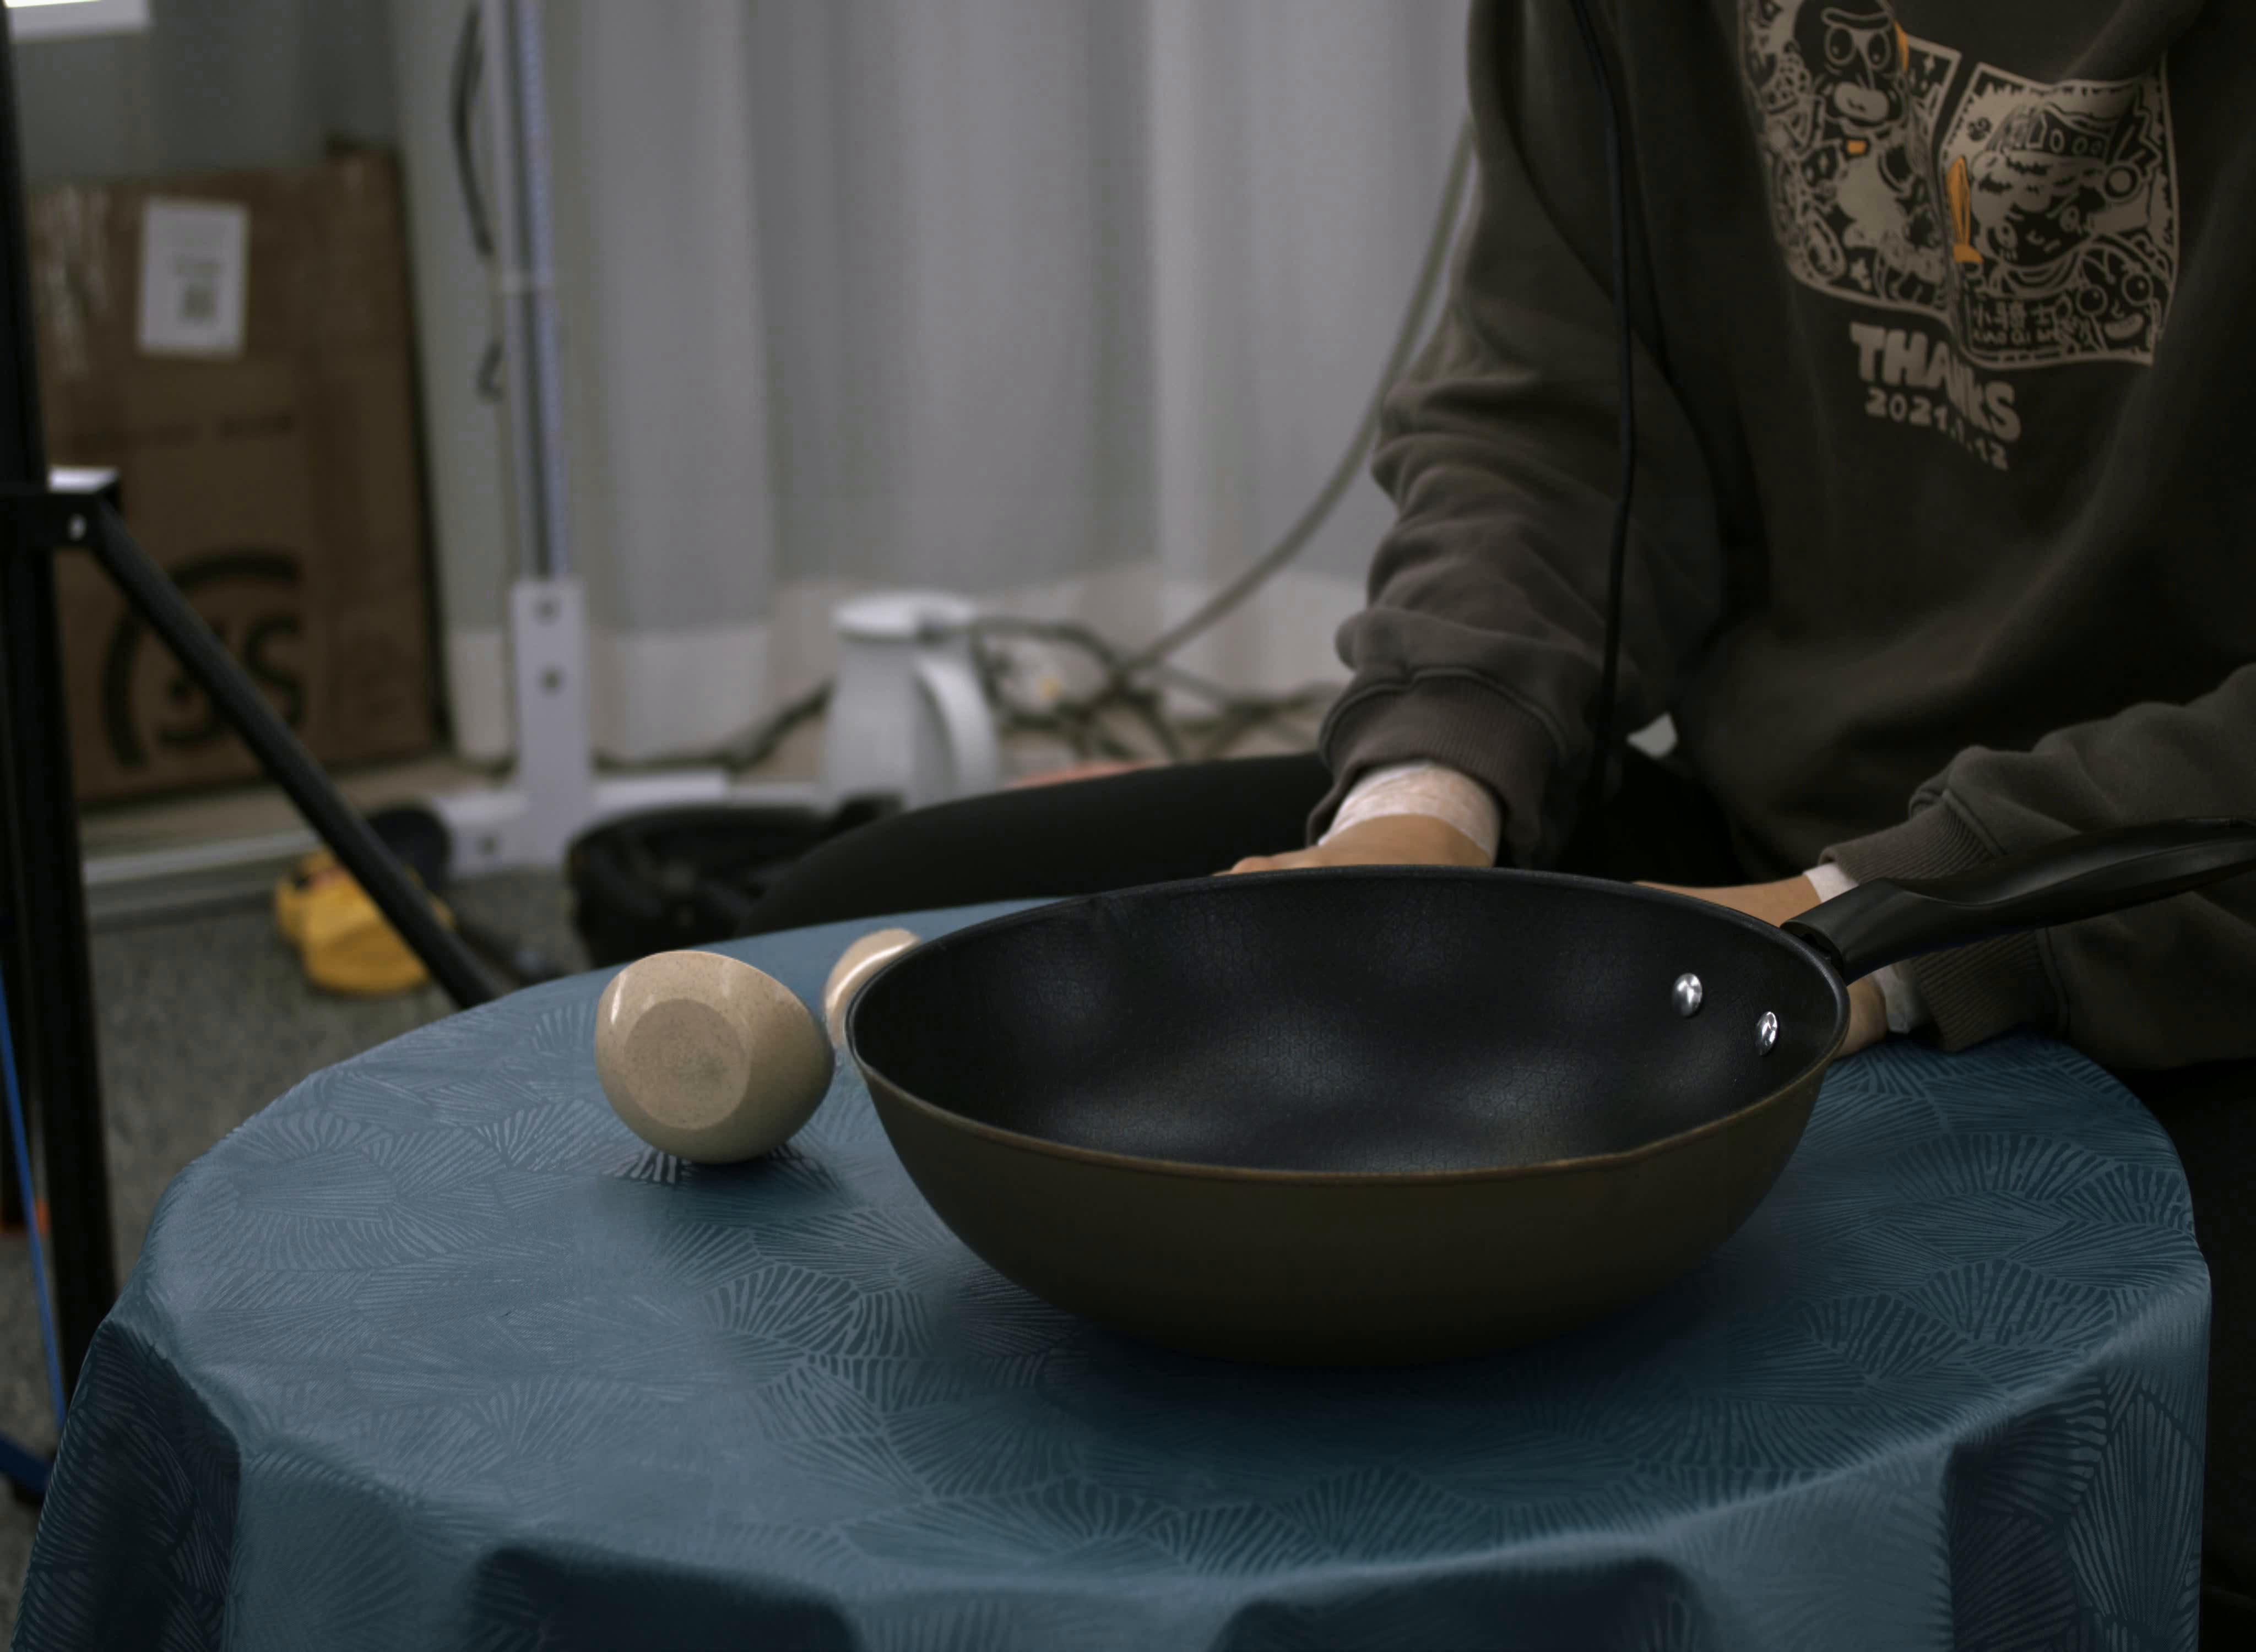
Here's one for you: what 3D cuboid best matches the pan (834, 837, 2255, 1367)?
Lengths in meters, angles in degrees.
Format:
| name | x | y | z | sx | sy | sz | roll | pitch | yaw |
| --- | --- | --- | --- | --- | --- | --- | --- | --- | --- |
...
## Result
| name | x | y | z | sx | sy | sz | roll | pitch | yaw |
| --- | --- | --- | --- | --- | --- | --- | --- | --- | --- |
| pan | 0.139 | 0.072 | 1.514 | 0.454 | 0.087 | 0.294 | -9 | 17 | -25 |

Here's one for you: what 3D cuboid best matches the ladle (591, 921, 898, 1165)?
| name | x | y | z | sx | sy | sz | roll | pitch | yaw |
| --- | --- | --- | --- | --- | --- | --- | --- | --- | --- |
| ladle | -0.109 | 0.039 | 1.692 | 0.072 | 0.073 | 0.253 | -1 | 17 | 11 |
